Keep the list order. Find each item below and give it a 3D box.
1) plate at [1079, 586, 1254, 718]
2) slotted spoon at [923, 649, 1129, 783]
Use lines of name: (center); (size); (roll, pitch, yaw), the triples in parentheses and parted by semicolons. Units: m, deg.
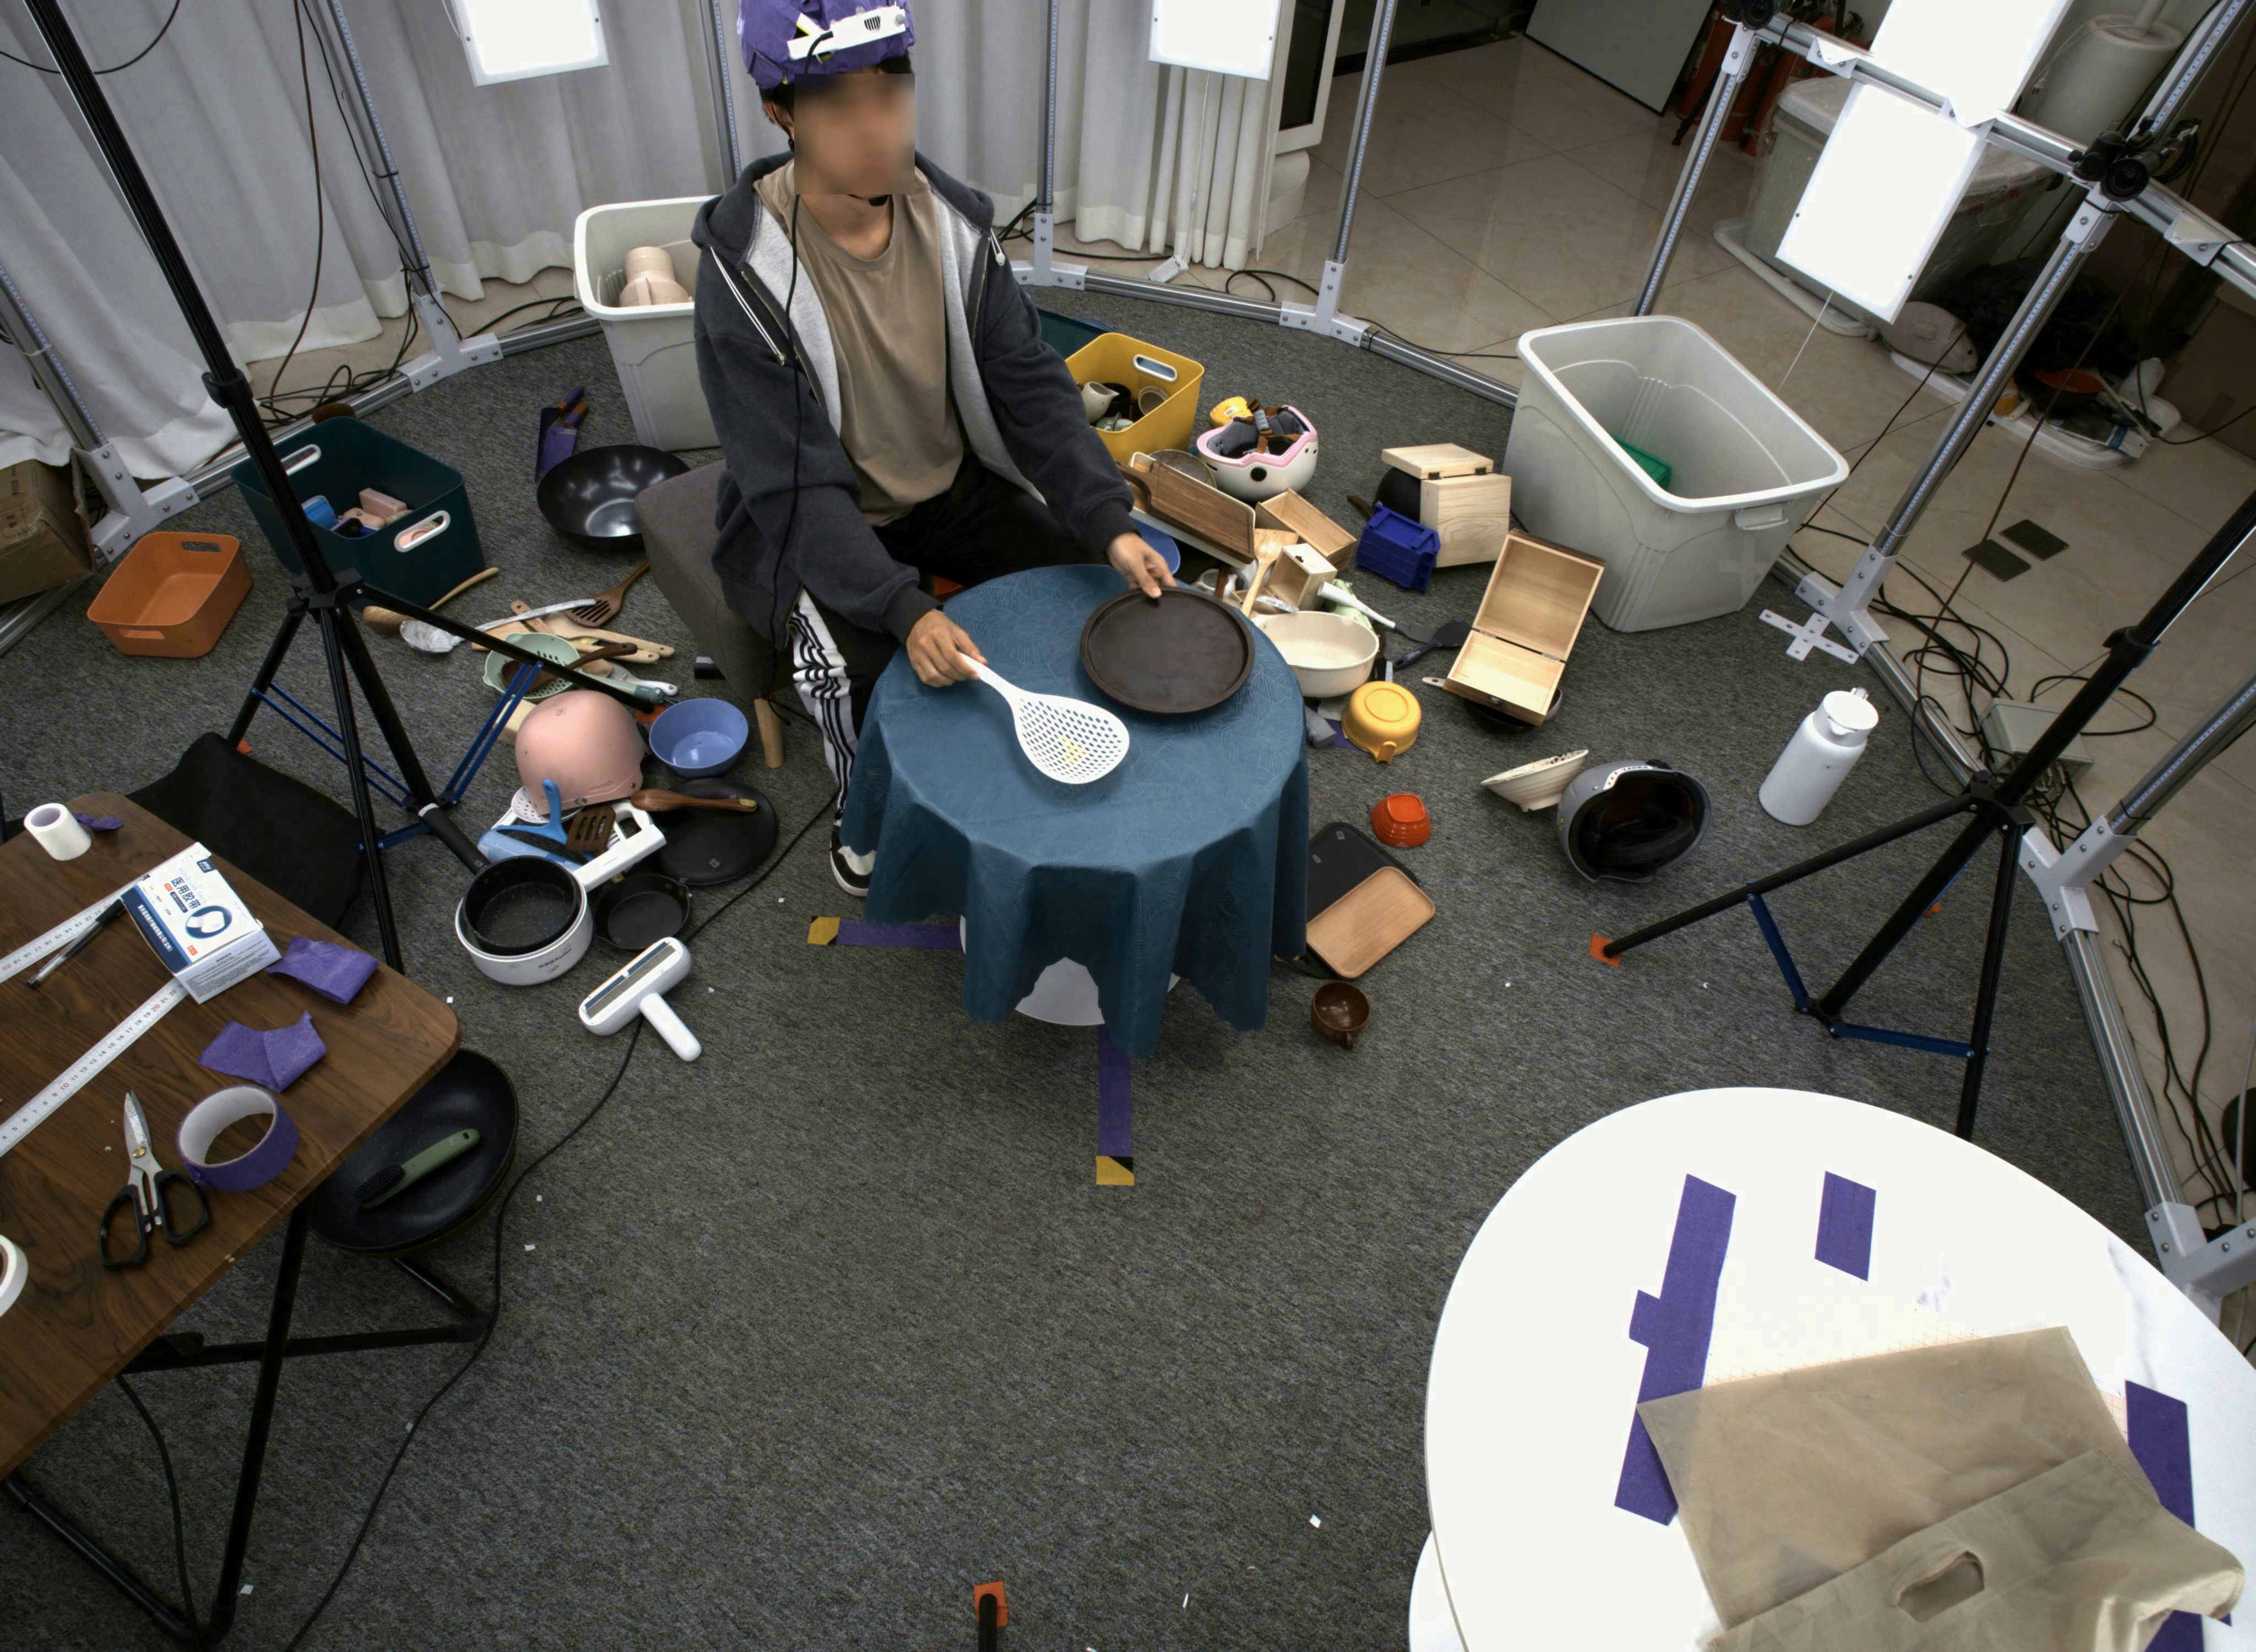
plate: (0.055, -0.253, 1.852); (0.254, 0.028, 0.261); (0, 53, 0)
slotted spoon: (-0.151, -0.167, 1.764); (0.352, 0.049, 0.138); (37, 64, 20)
